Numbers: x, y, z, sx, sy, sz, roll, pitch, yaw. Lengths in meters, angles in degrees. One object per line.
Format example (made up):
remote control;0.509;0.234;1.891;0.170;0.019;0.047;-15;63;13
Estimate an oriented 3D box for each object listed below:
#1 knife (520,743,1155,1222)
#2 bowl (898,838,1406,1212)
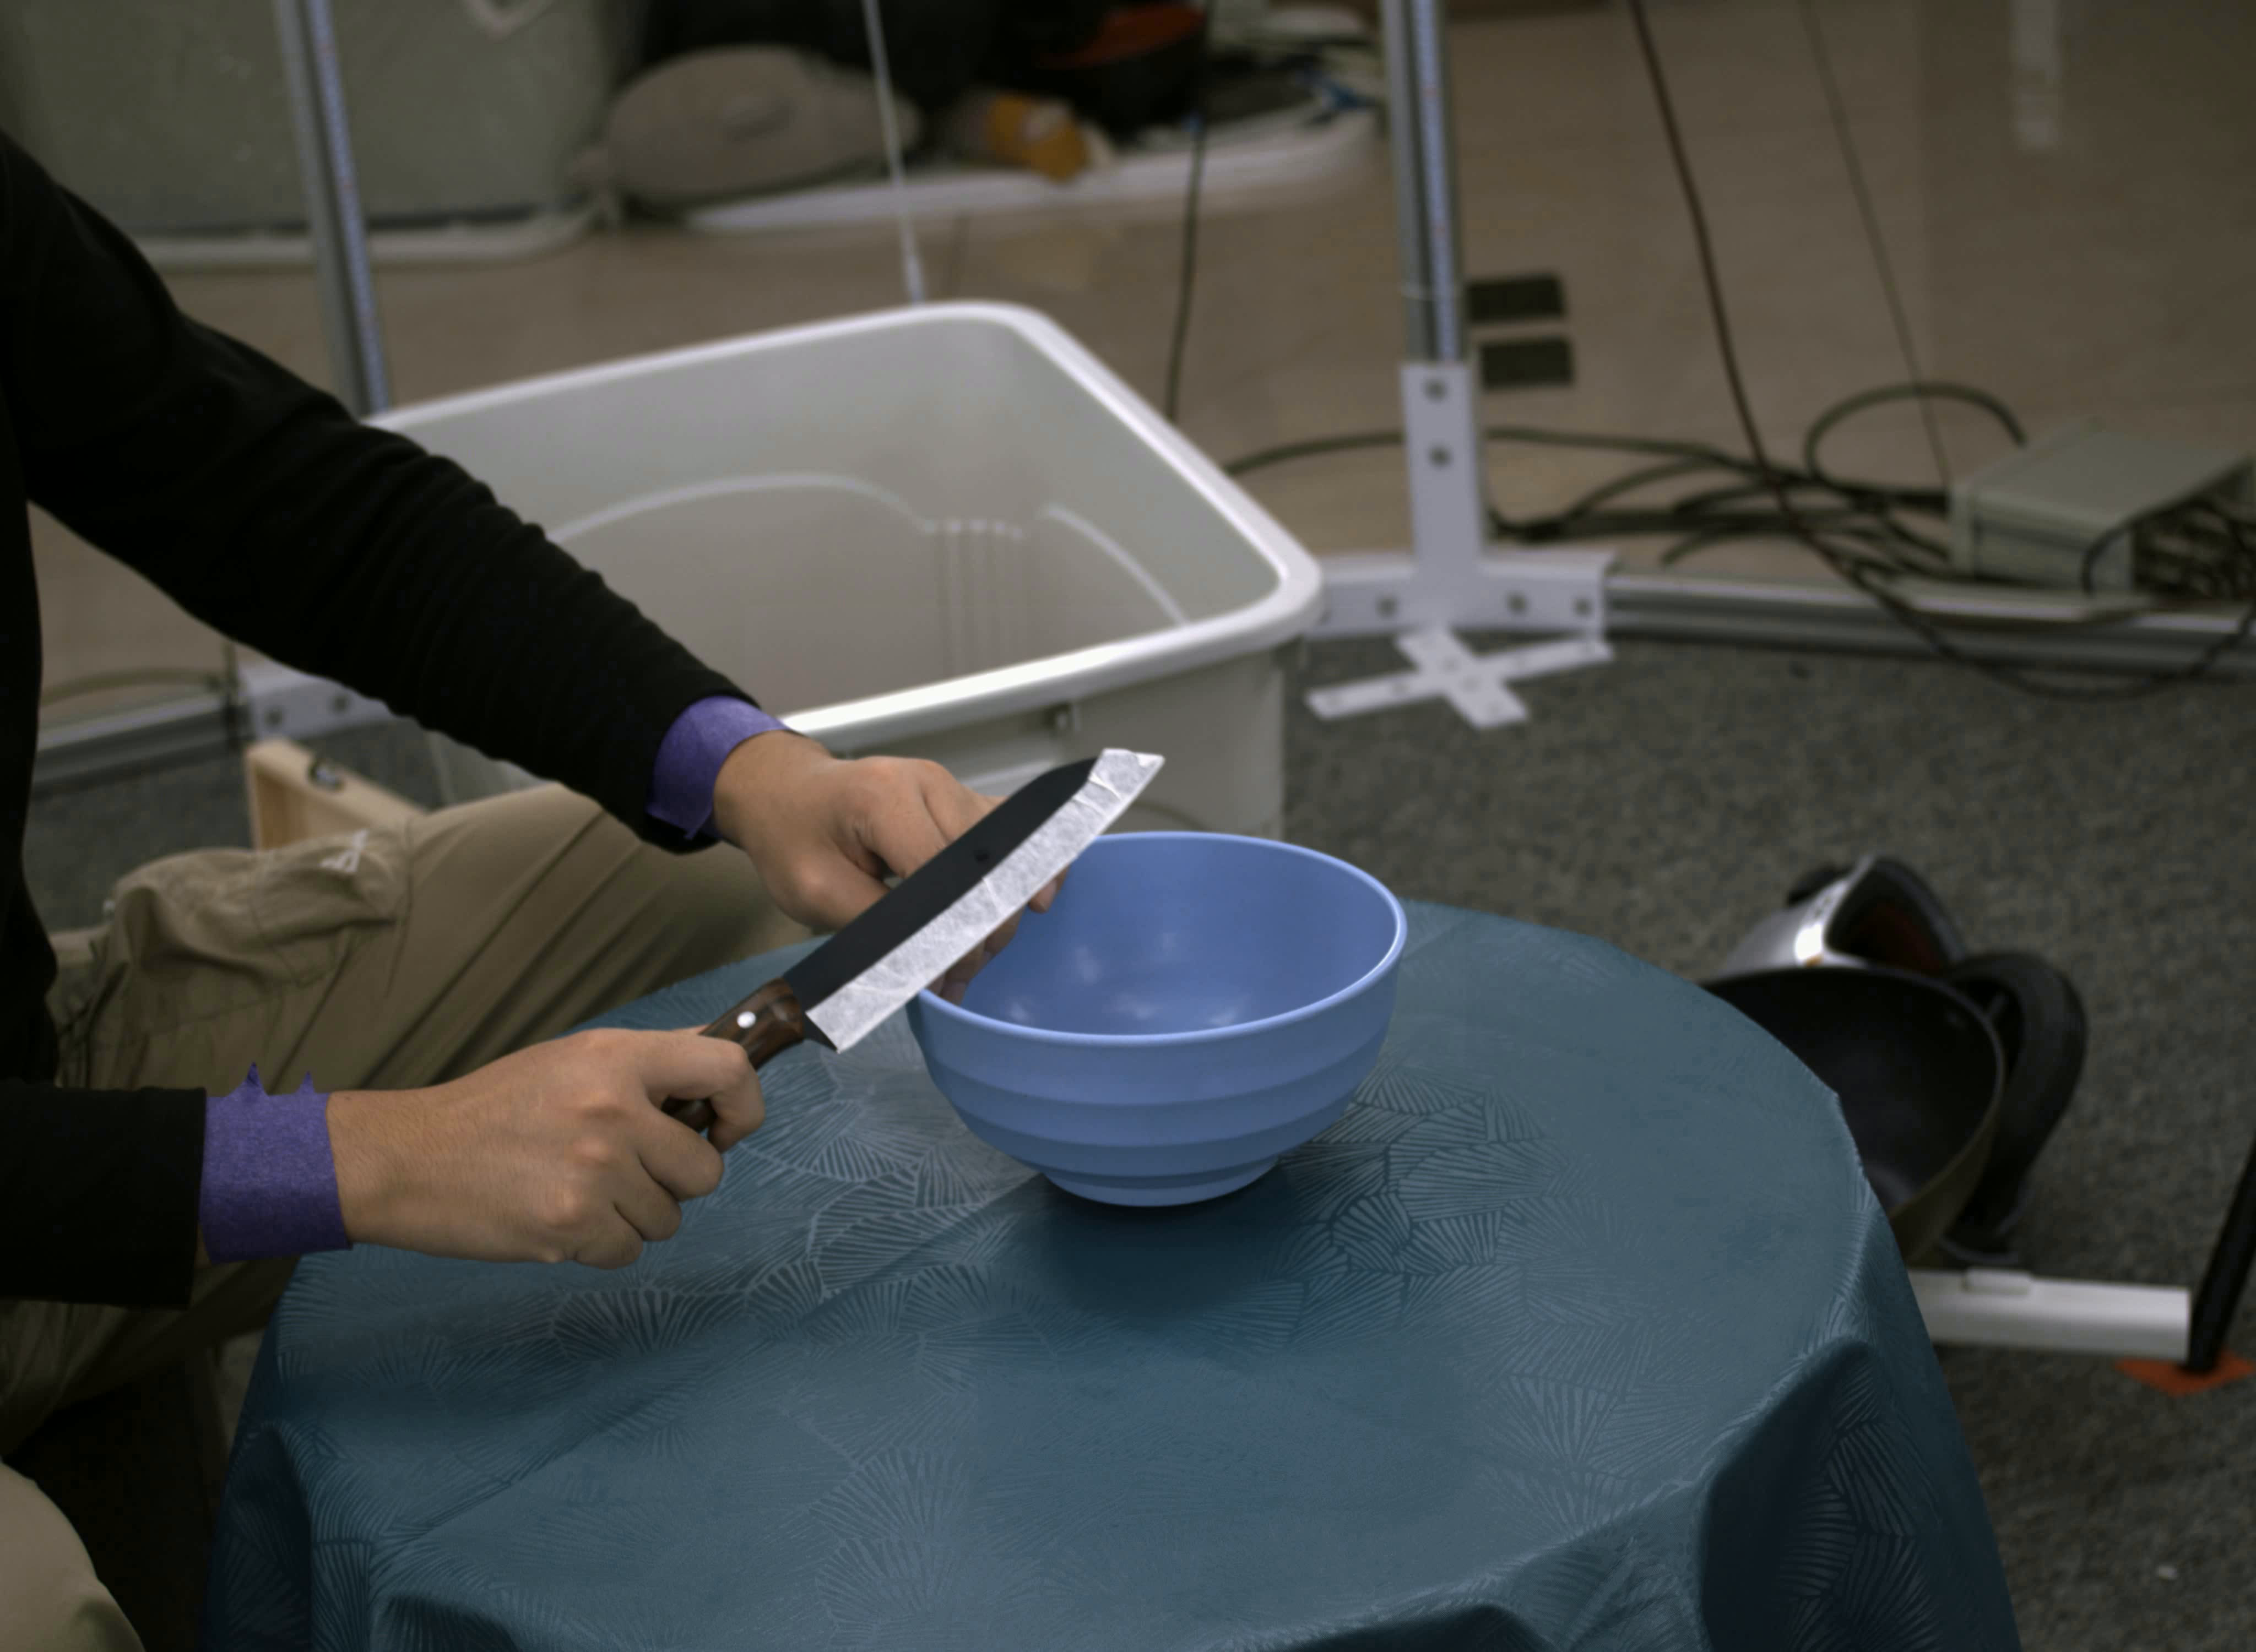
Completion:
knife;-0.105;0.055;2.099;0.288;0.020;0.049;-37;58;-10
bowl;0.010;0.085;2.149;0.196;0.097;0.194;-4;23;2
